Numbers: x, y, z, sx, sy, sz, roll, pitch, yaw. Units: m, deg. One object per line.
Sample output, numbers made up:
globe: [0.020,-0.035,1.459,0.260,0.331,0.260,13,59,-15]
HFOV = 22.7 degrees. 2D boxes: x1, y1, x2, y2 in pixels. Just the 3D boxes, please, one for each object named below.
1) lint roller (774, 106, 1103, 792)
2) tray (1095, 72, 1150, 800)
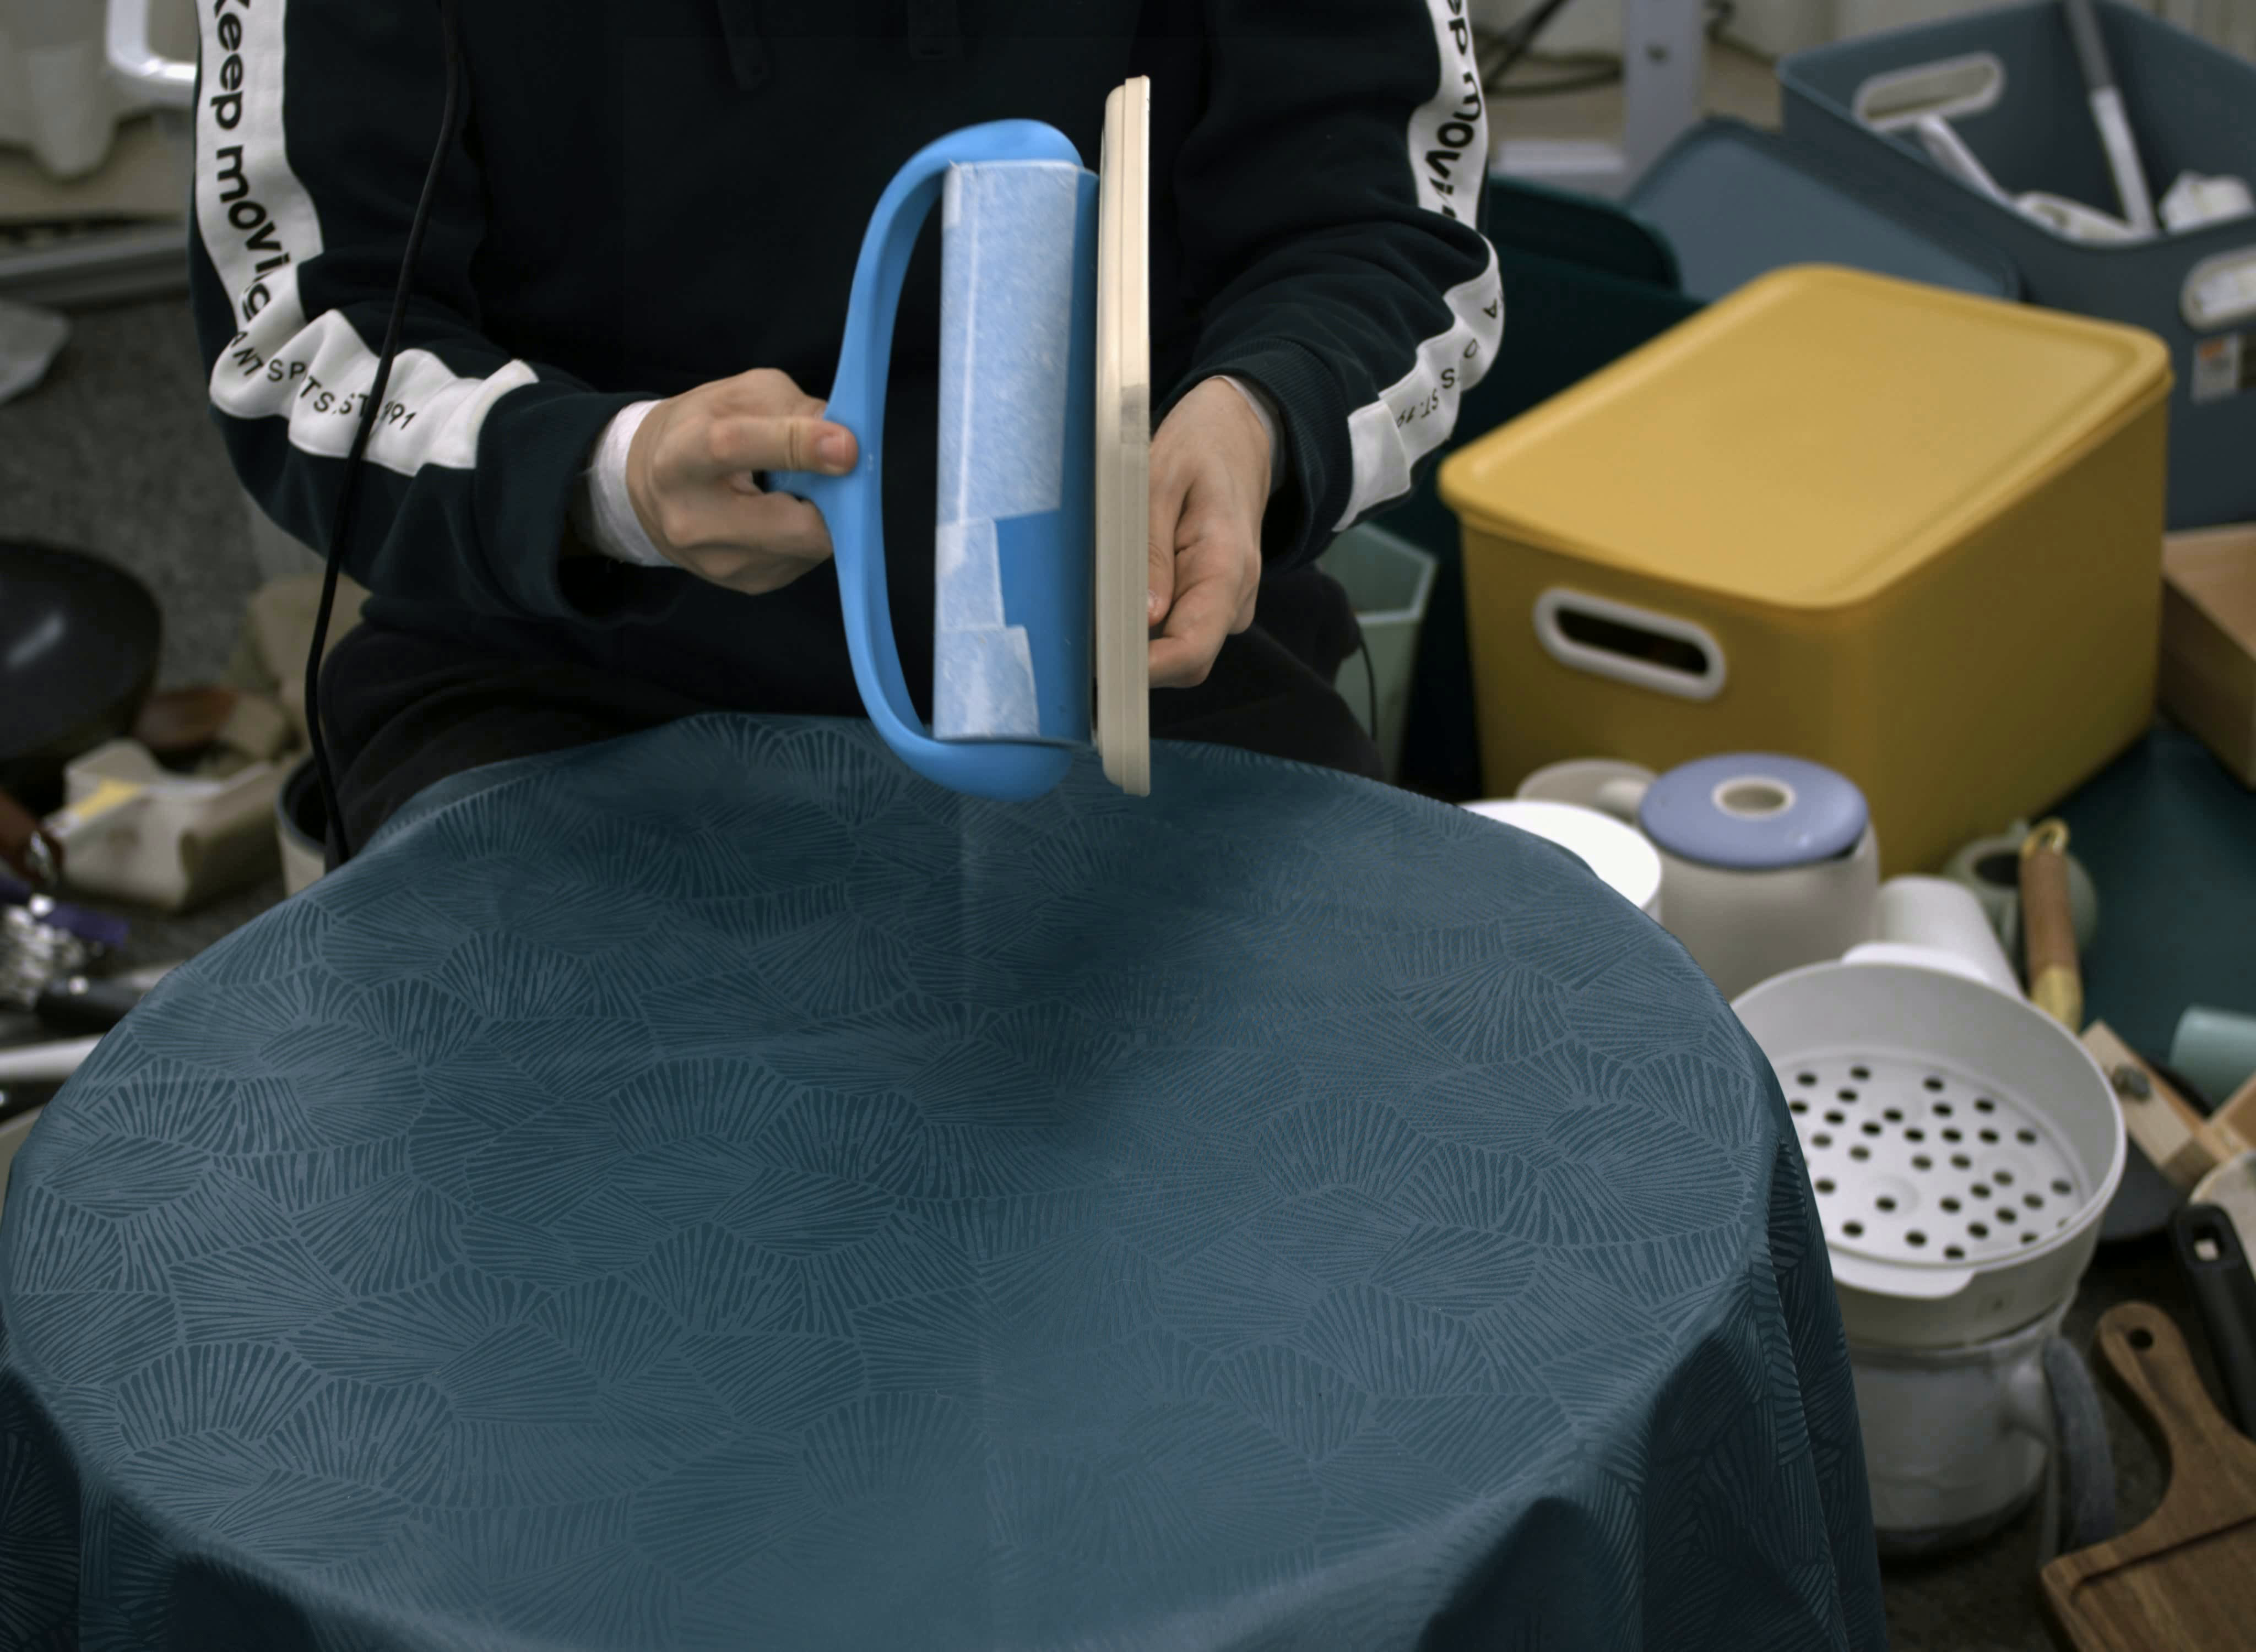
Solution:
lint roller: [-0.078,-0.120,1.915,0.068,0.231,0.178,6,-11,-44]
tray: [-0.002,-0.133,1.879,0.017,0.169,0.244,0,32,0]
